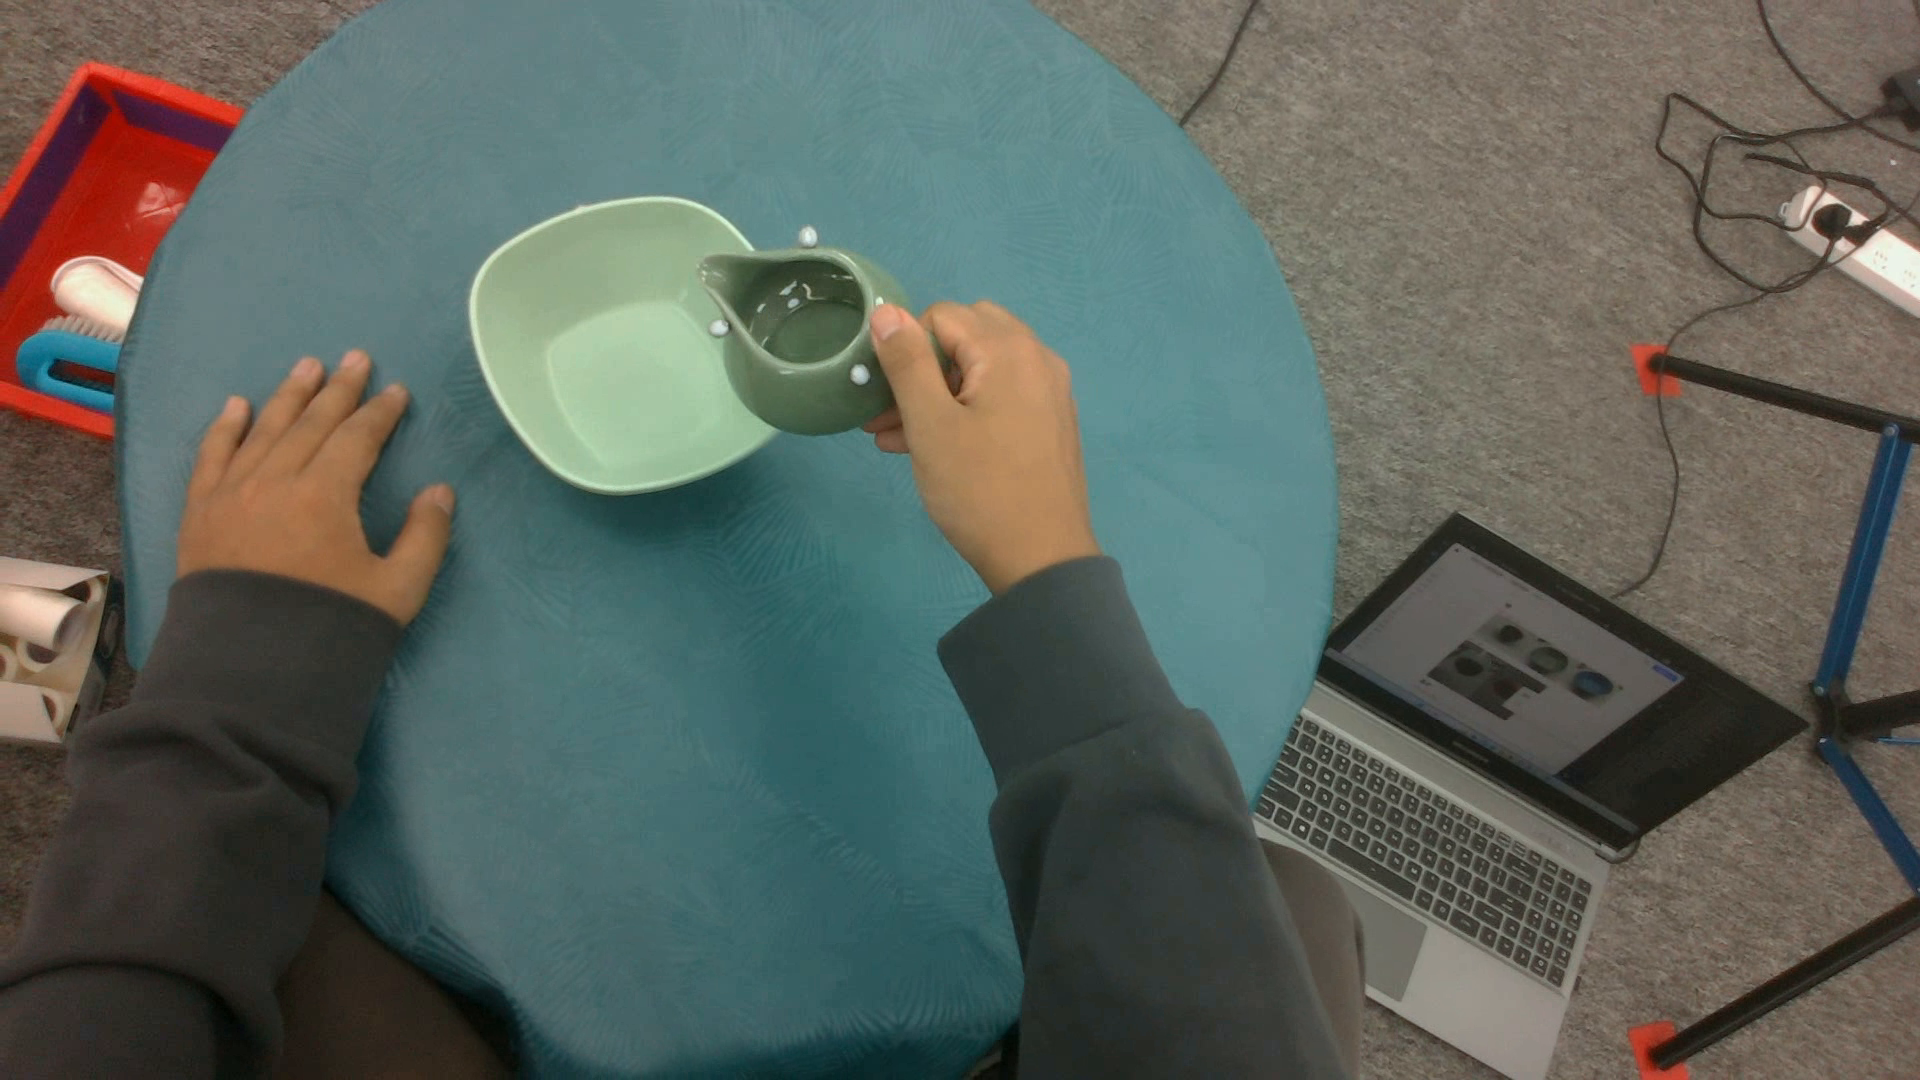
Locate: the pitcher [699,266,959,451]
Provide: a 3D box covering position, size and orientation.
[{"bbox_3d":[-0.053,-0.080,0.589,0.112,0.056,0.084,16,75,11],"label":"pitcher"}]

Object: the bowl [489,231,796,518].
[{"bbox_3d":[-0.148,-0.072,0.665,0.151,0.058,0.152,4,69,-12],"label":"bowl"}]
